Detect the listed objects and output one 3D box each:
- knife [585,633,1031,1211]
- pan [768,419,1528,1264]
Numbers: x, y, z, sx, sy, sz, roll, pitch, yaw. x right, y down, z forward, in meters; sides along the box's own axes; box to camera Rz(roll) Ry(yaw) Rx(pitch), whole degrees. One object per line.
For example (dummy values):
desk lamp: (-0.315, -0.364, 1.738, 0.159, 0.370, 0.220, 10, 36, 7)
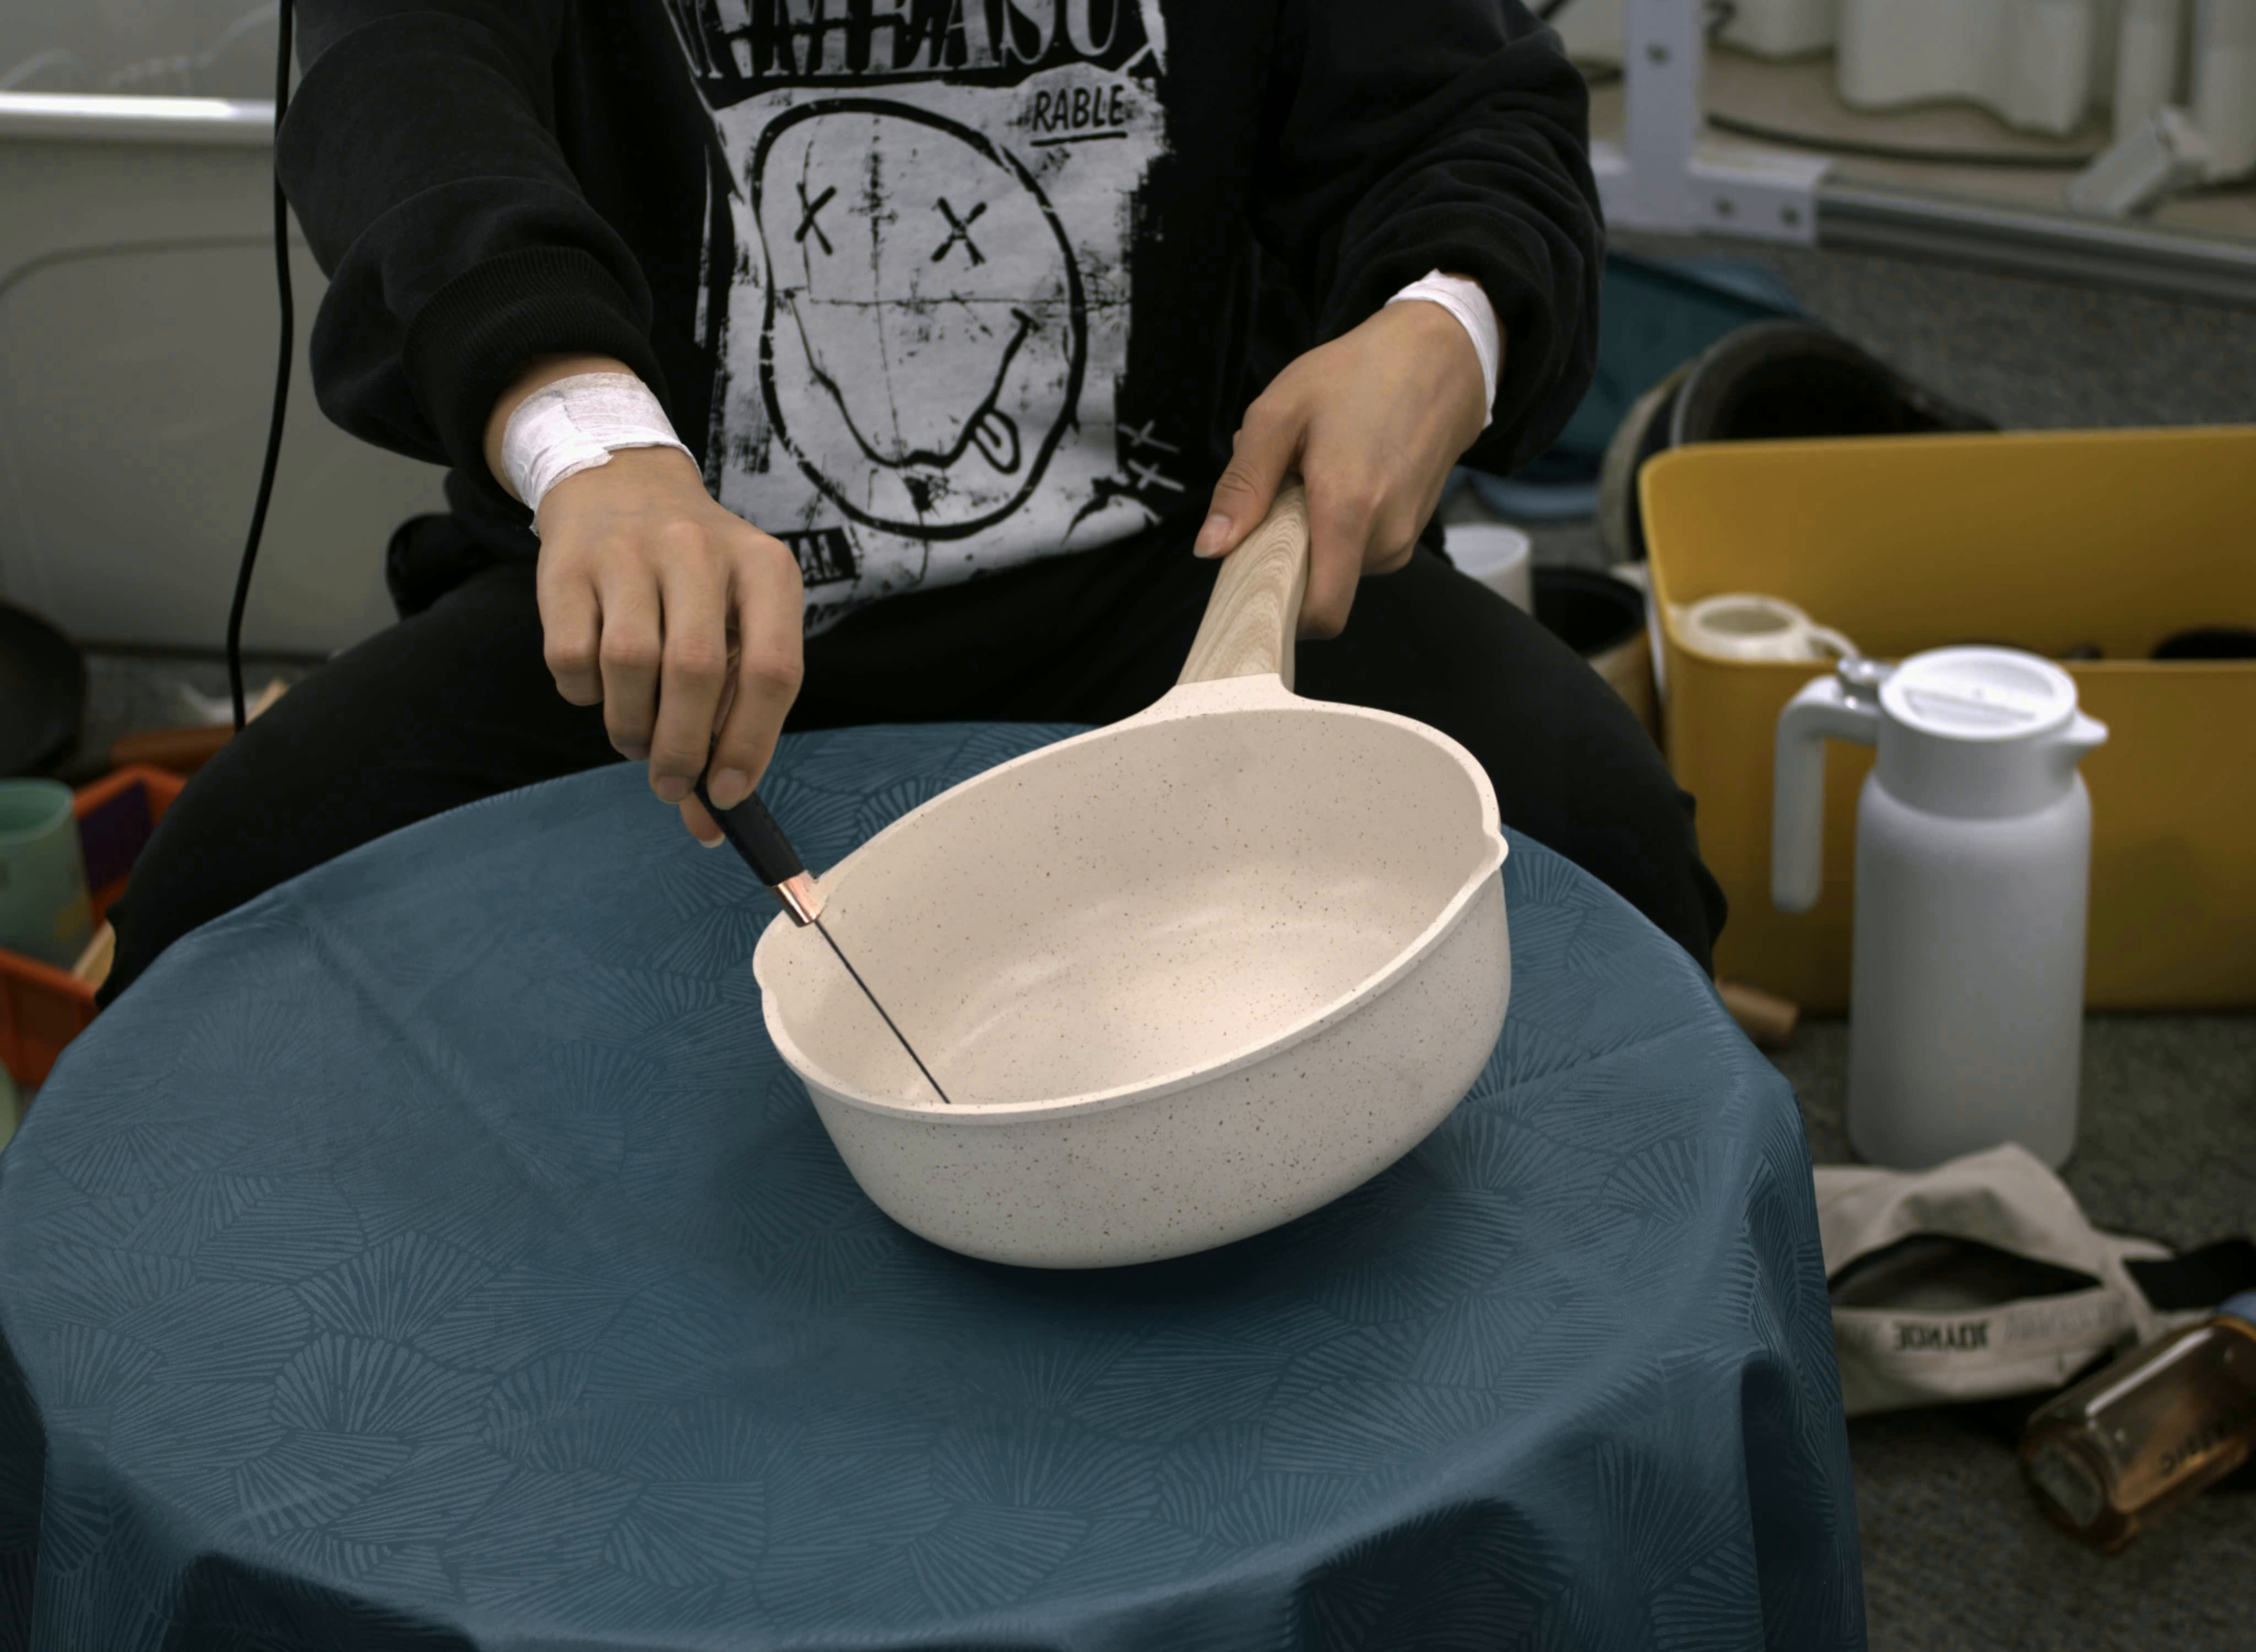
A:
knife: (-0.099, 0.031, 1.769, 0.017, 0.226, 0.026, -37, 1, -10)
pan: (0.034, 0.002, 1.930, 0.261, 0.101, 0.443, -9, 27, 20)
